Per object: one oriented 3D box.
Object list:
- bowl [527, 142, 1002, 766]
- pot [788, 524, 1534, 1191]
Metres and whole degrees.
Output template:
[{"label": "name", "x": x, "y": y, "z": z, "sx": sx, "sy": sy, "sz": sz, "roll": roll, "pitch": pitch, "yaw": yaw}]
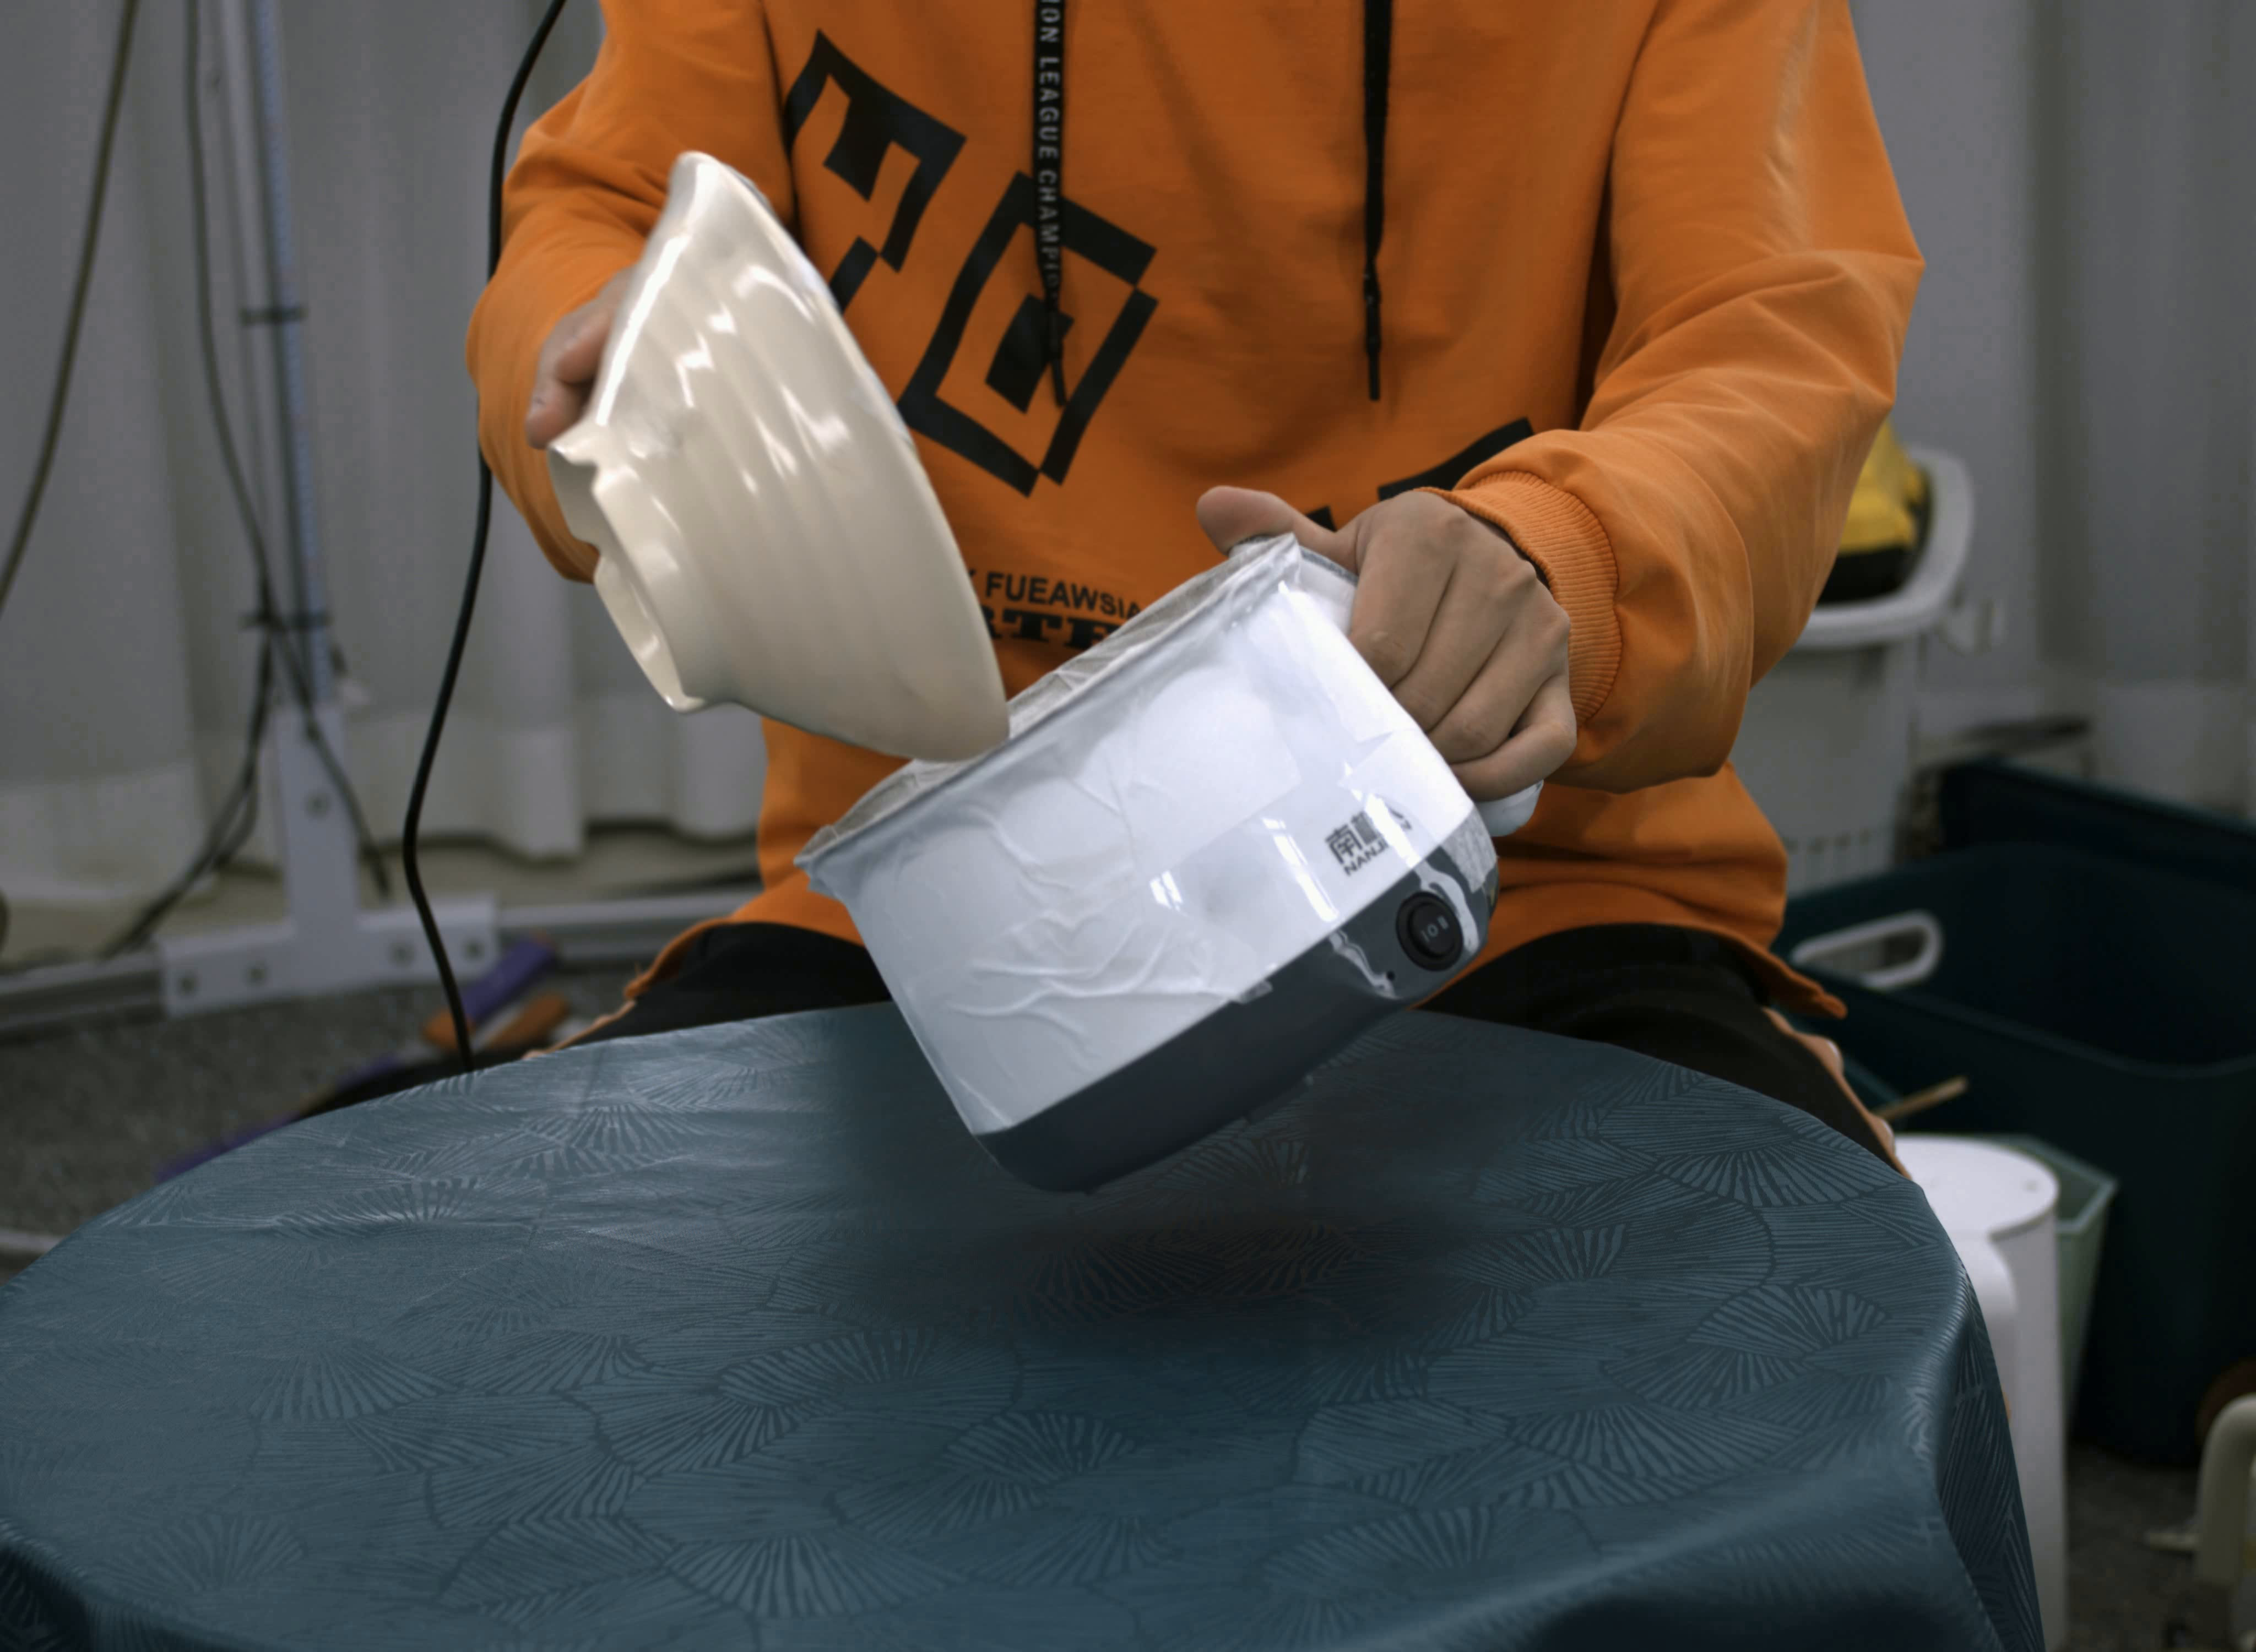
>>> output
[{"label": "bowl", "x": -0.120, "y": -0.089, "z": 1.587, "sx": 0.078, "sy": 0.202, "sz": 0.205, "roll": -27, "pitch": 22, "yaw": -16}, {"label": "pot", "x": 0.025, "y": 0.000, "z": 1.628, "sx": 0.178, "sy": 0.136, "sz": 0.235, "roll": -27, "pitch": 7, "yaw": 48}]
